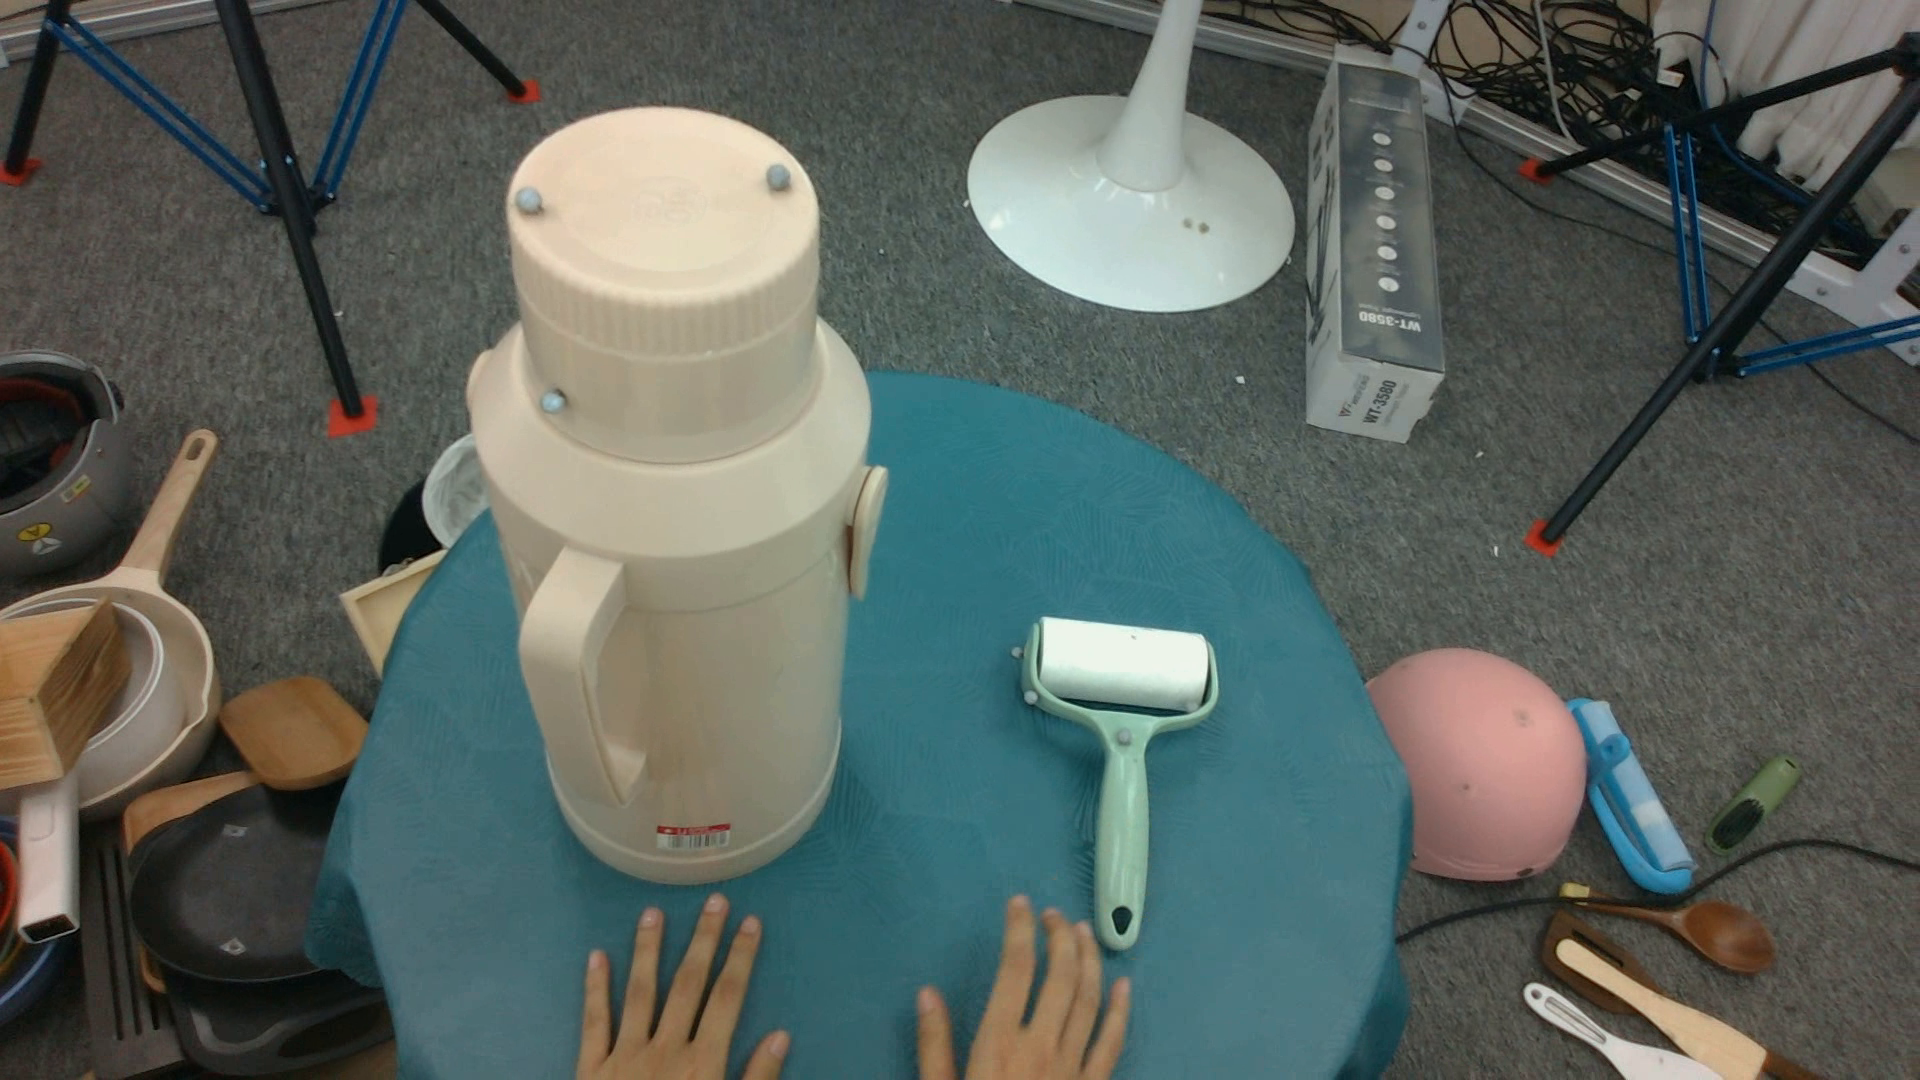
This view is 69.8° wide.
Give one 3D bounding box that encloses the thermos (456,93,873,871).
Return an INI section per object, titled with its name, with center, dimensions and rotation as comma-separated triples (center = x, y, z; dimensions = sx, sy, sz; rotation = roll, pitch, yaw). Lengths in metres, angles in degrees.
[thermos]
center = -0.136, 0.008, 0.622
dimensions = 0.175, 0.404, 0.208
rotation = 17, 52, 3

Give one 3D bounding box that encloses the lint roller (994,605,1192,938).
[lint roller]
center = 0.076, 0.126, 0.787
dimensions = 0.117, 0.048, 0.198
rotation = 8, 51, -6
